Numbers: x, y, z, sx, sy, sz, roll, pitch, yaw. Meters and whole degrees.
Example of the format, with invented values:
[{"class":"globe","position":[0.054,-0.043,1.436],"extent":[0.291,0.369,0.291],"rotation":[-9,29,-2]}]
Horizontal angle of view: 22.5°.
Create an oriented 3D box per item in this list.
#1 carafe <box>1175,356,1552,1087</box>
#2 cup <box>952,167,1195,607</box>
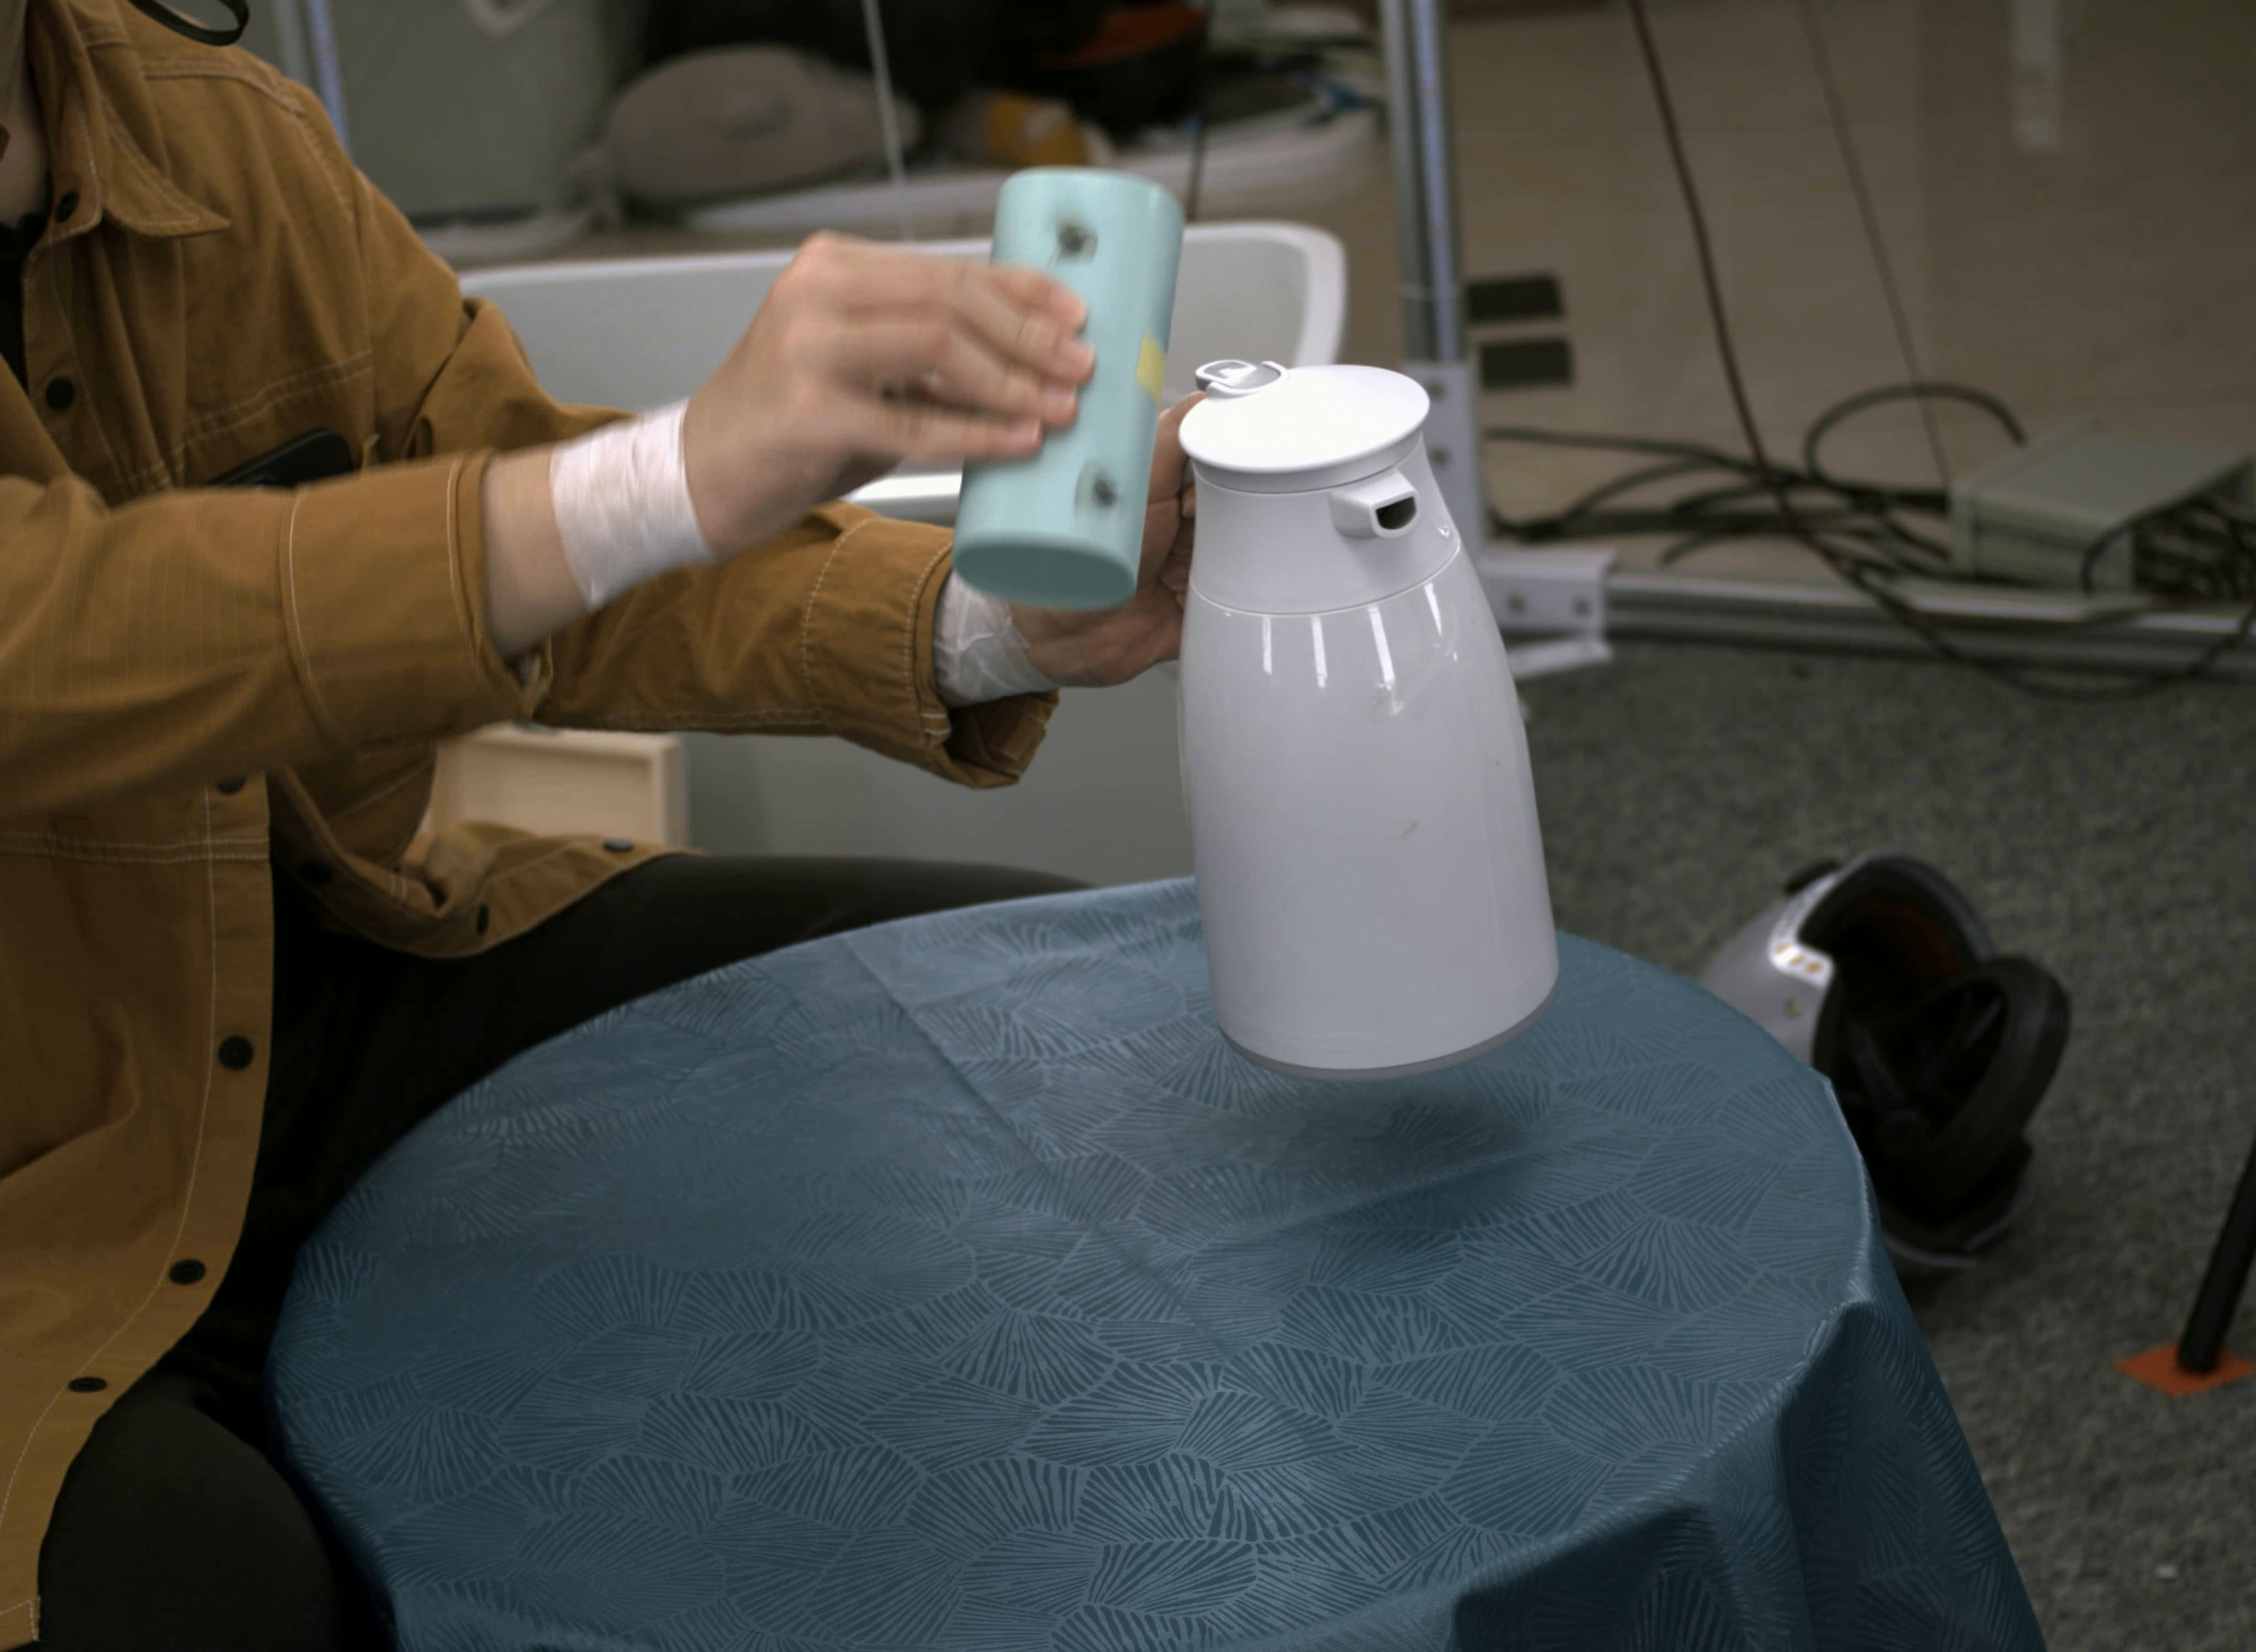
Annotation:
[{"class":"carafe","position":[0.070,-0.049,2.099],"extent":[0.132,0.253,0.166],"rotation":[-20,28,-21]},{"class":"cup","position":[-0.019,-0.145,1.854],"extent":[0.066,0.067,0.131],"rotation":[2,69,17]}]
